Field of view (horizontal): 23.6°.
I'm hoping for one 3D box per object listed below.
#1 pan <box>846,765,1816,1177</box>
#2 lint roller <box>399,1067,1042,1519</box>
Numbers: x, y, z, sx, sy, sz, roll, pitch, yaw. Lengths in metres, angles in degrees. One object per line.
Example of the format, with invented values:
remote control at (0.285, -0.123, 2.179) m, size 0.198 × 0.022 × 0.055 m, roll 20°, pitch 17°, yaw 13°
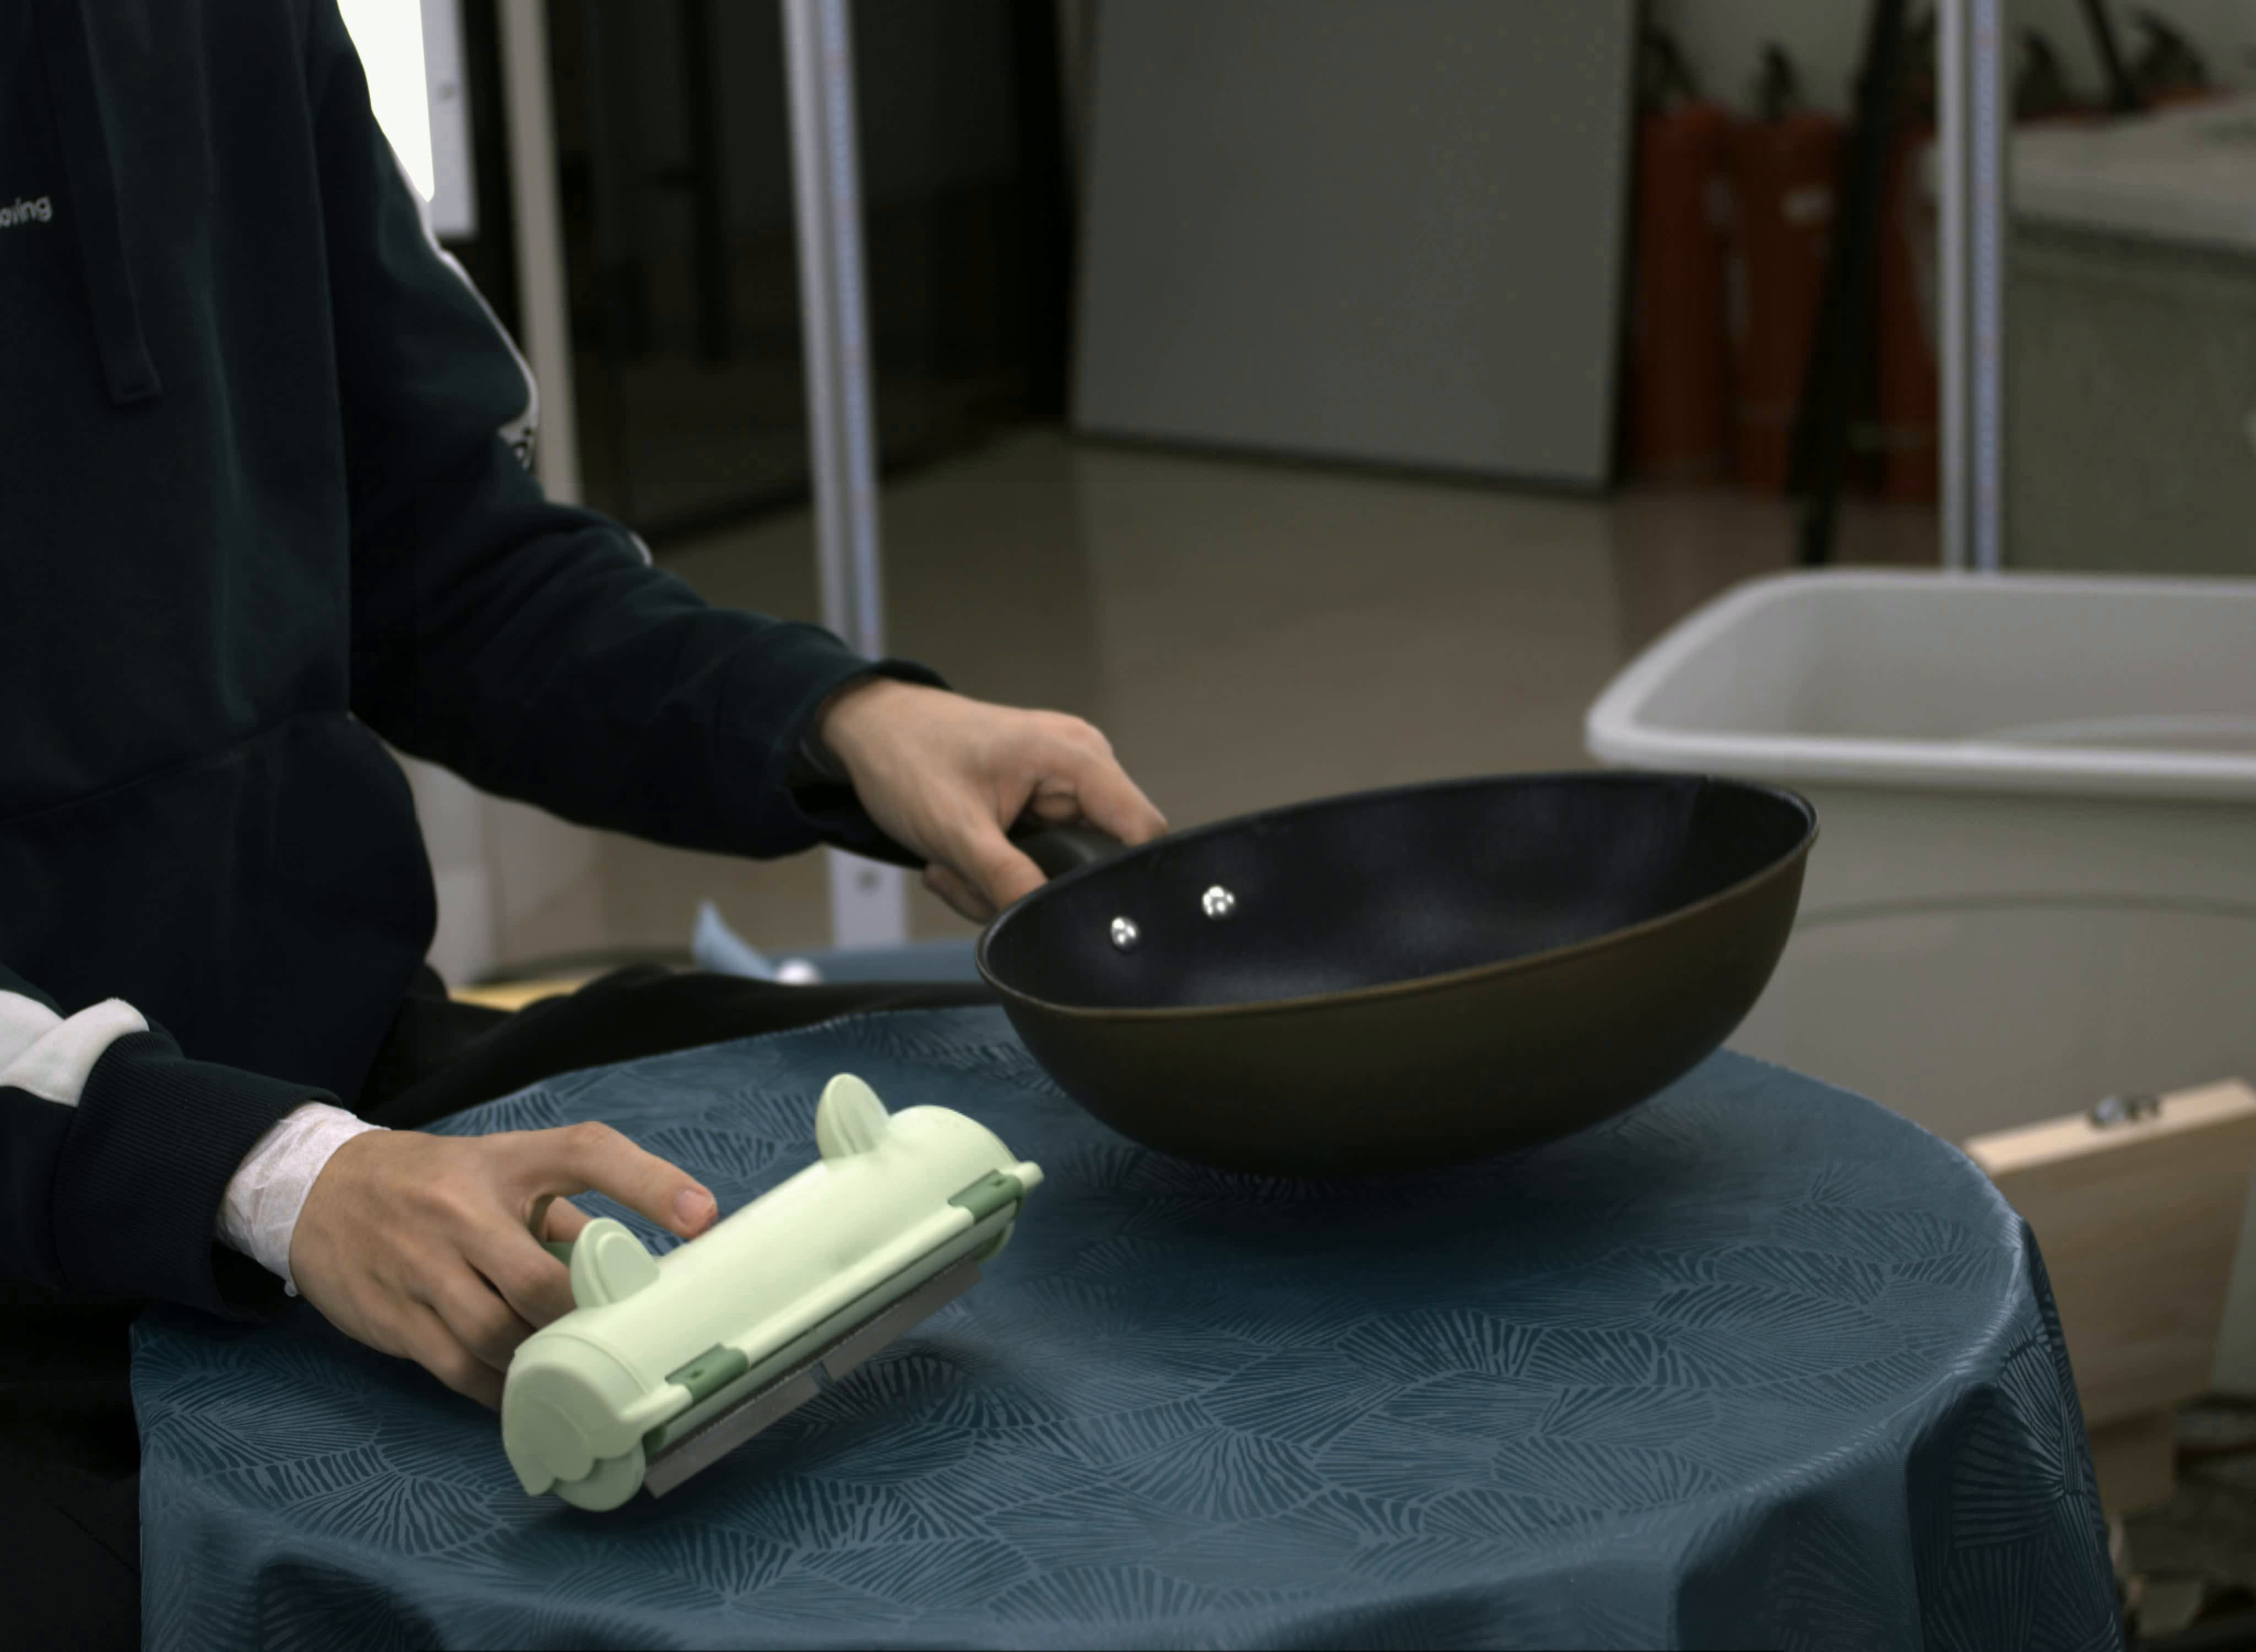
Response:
pan at (0.038, 0.048, 1.831) m, size 0.282 × 0.088 × 0.468 m, roll -19°, pitch 13°, yaw -34°
lint roller at (-0.149, 0.125, 1.595) m, size 0.184 × 0.083 × 0.195 m, roll 8°, pitch 24°, yaw 35°
